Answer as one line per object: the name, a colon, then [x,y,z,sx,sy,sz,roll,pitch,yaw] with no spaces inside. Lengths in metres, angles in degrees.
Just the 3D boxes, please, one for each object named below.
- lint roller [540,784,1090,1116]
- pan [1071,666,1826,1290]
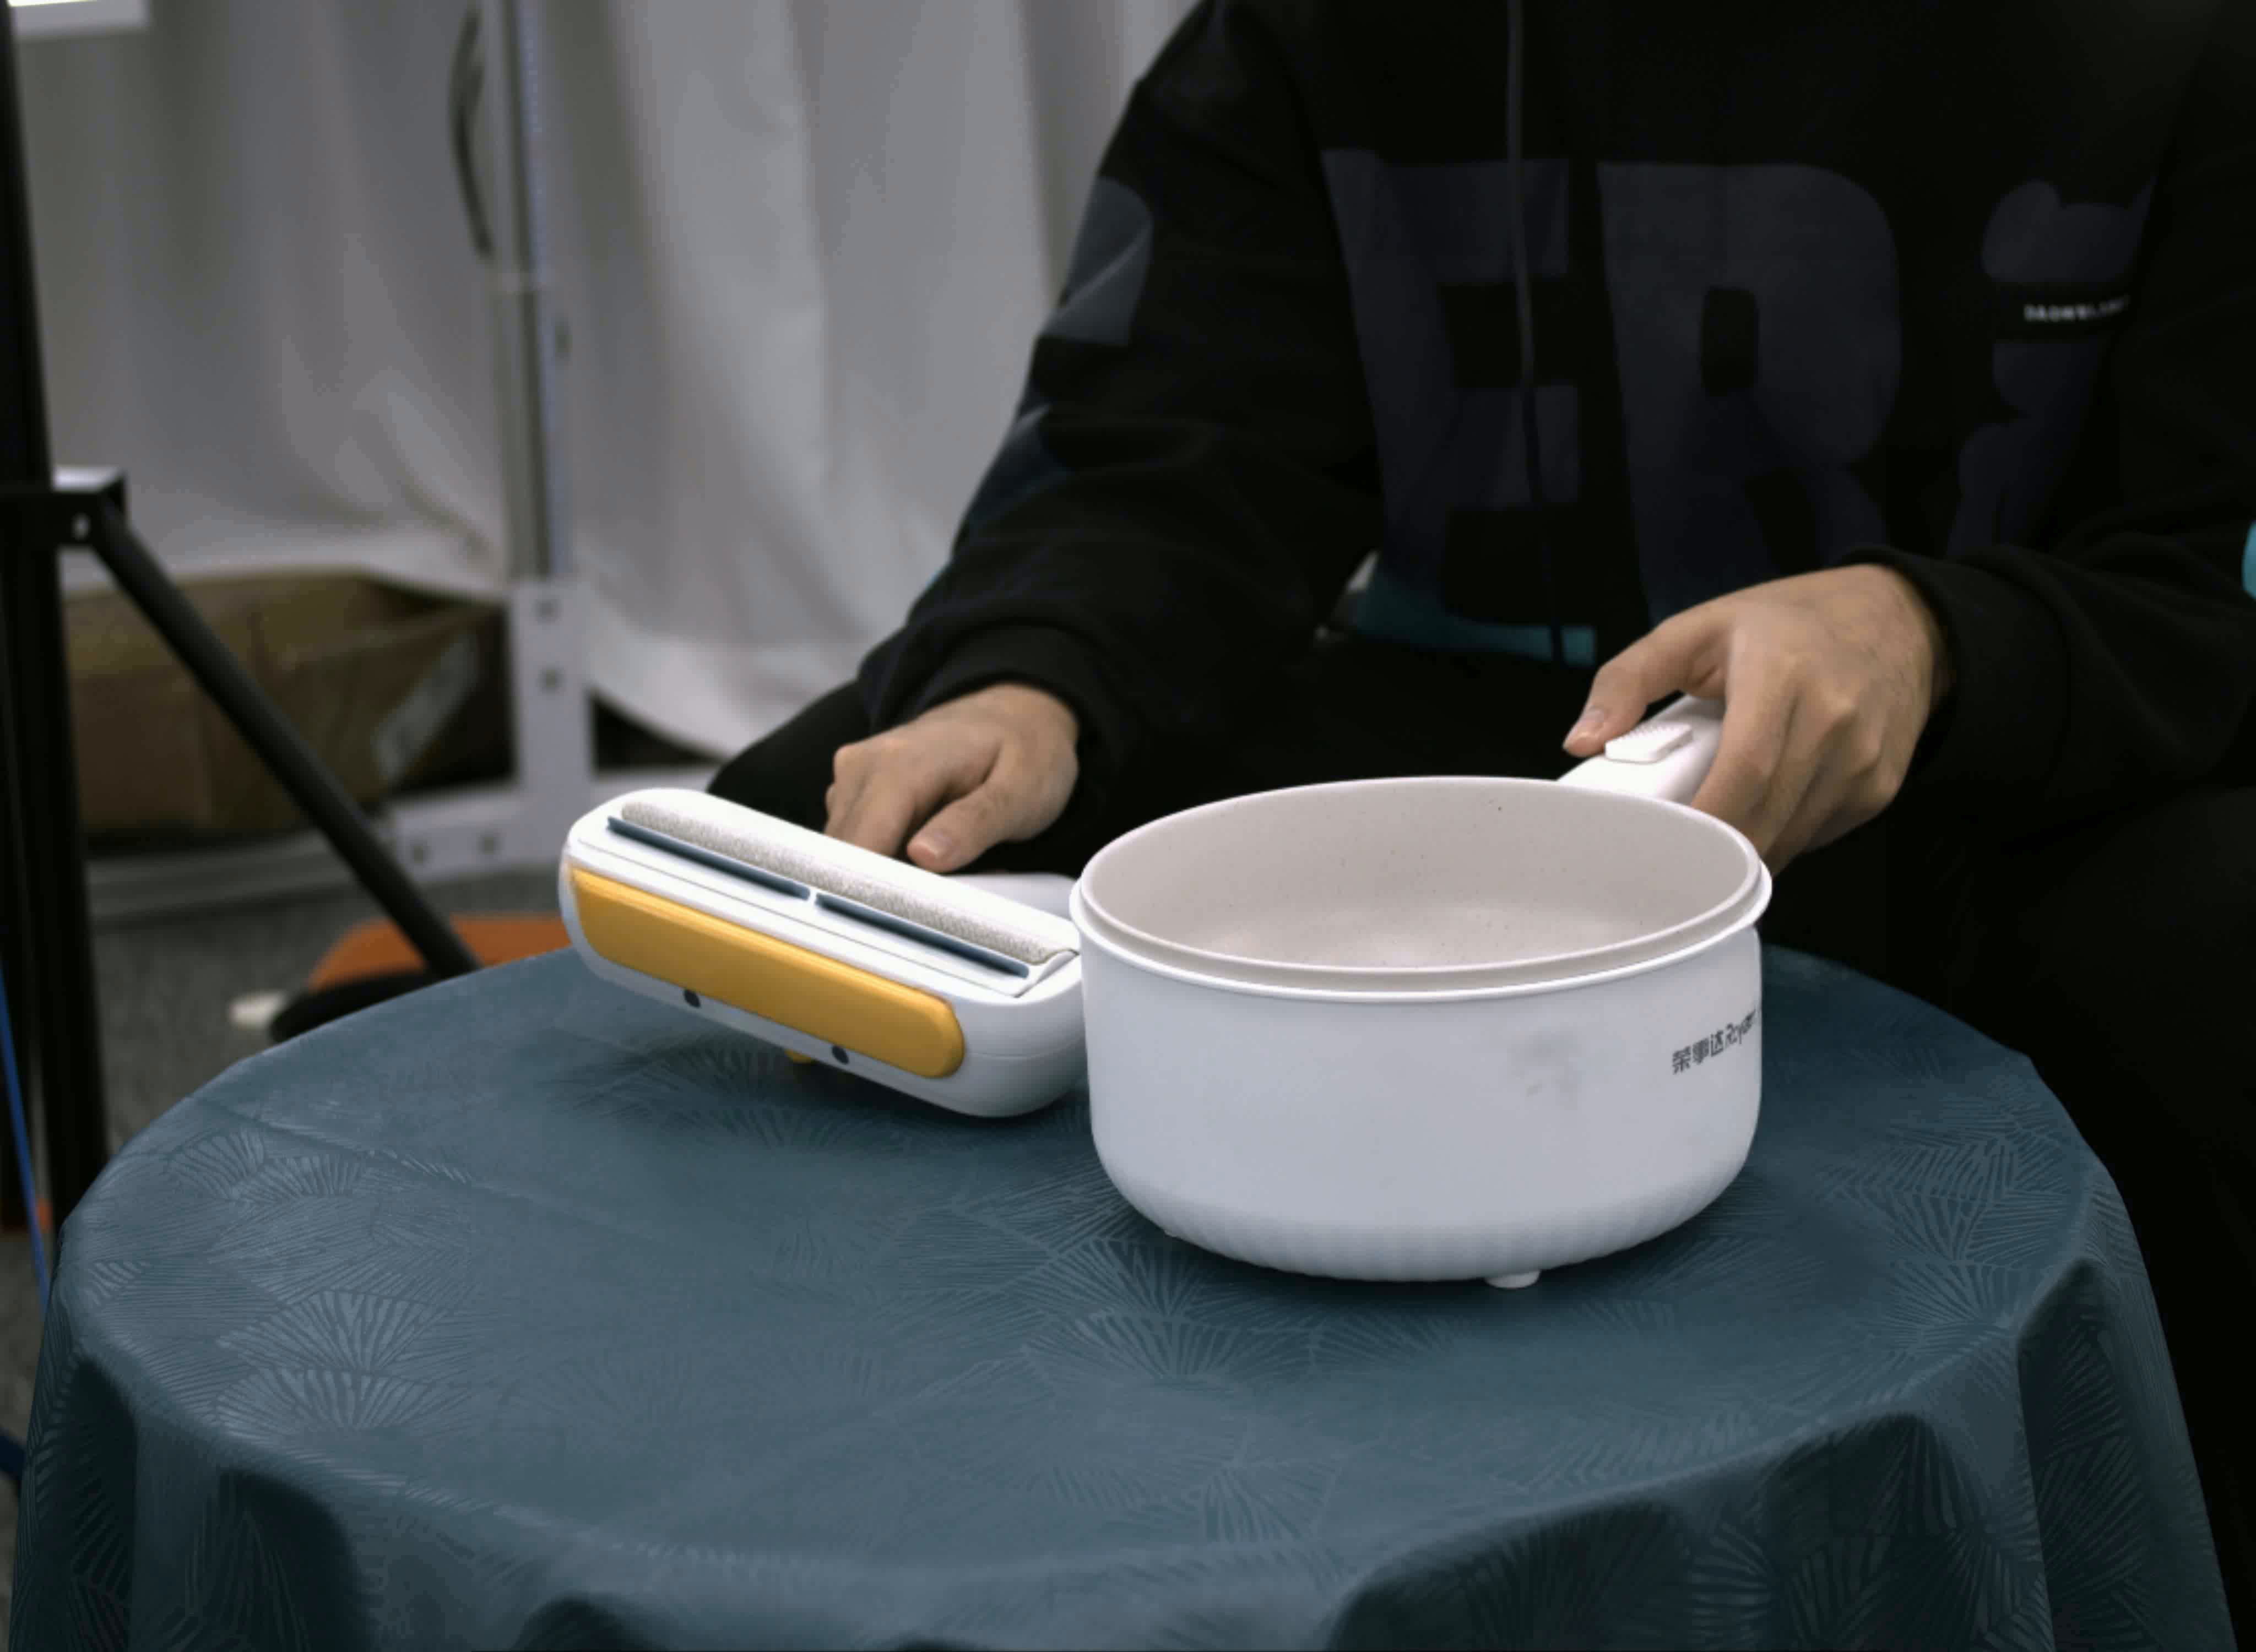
lint roller: [-0.065,0.031,1.716,0.197,0.074,0.188,15,22,35]
pan: [0.122,0.040,1.587,0.205,0.102,0.348,6,18,29]
